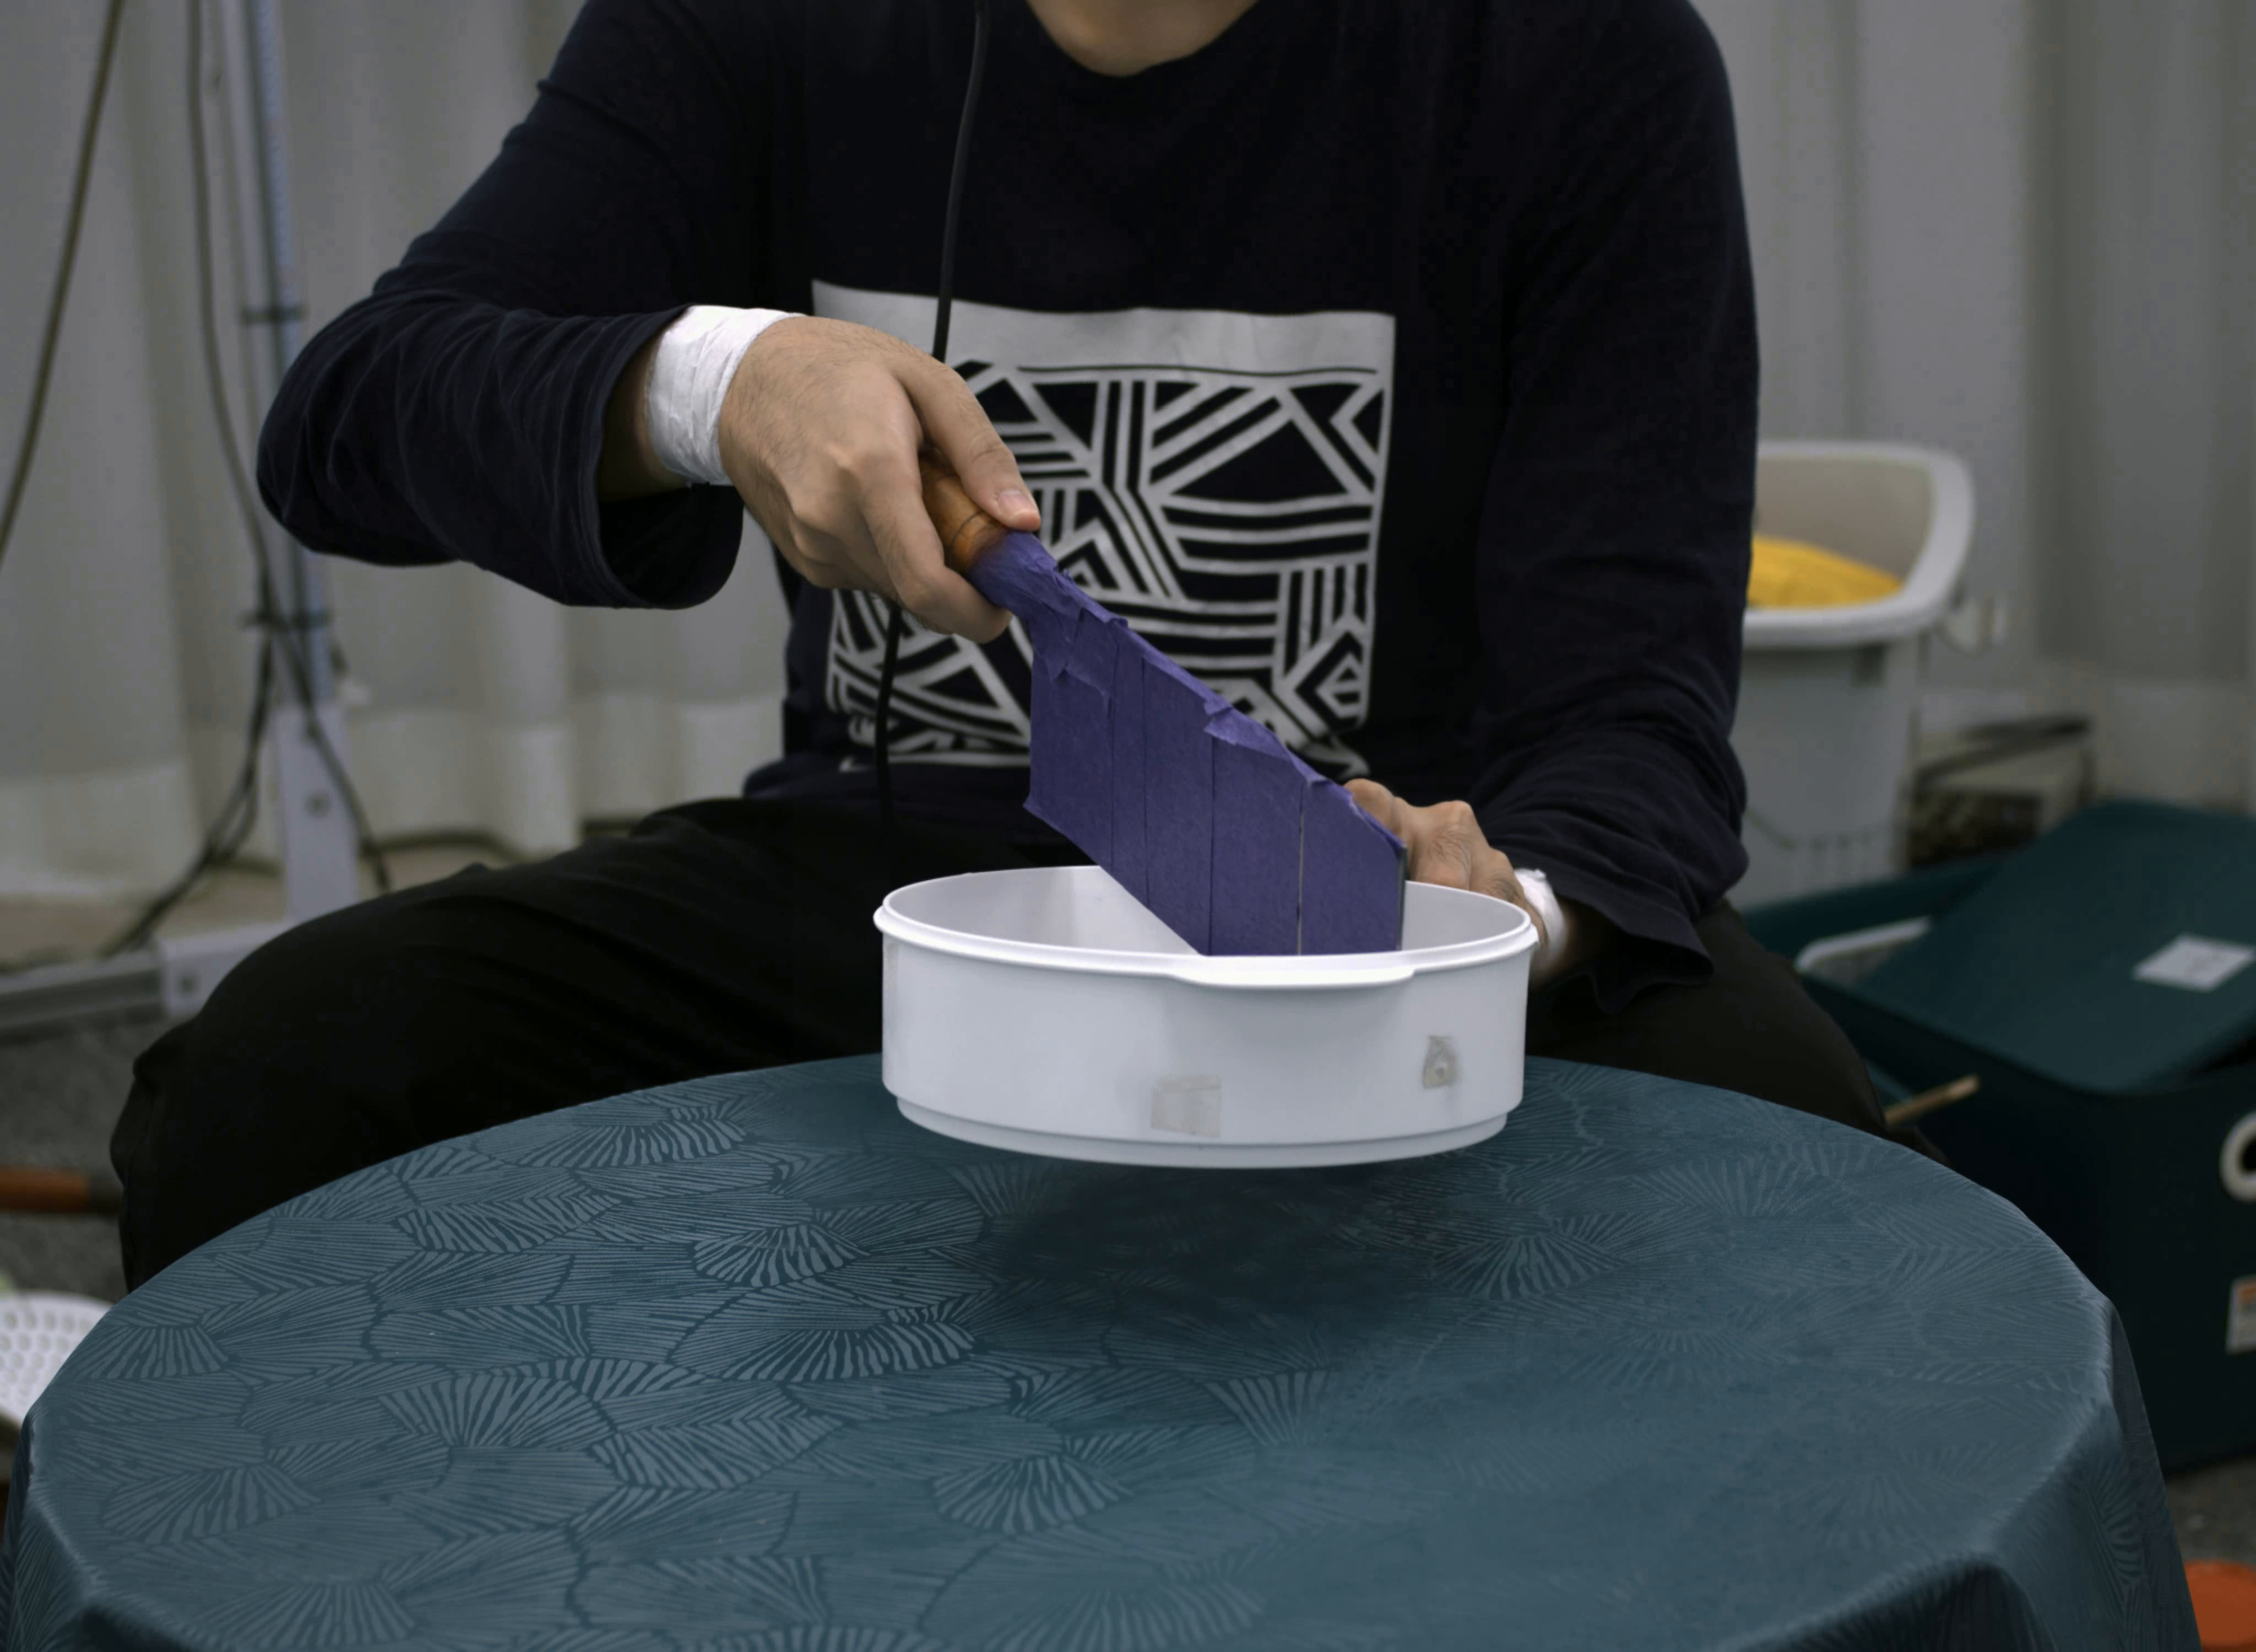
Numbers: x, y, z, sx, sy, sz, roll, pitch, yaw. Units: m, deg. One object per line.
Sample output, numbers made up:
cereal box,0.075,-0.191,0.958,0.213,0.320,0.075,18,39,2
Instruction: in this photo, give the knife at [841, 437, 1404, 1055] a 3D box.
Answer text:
knife,-0.006,-0.023,1.681,0.032,0.103,0.319,-12,31,-27

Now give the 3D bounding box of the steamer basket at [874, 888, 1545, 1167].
steamer basket,0.023,0.060,1.642,0.201,0.069,0.231,1,4,-14
